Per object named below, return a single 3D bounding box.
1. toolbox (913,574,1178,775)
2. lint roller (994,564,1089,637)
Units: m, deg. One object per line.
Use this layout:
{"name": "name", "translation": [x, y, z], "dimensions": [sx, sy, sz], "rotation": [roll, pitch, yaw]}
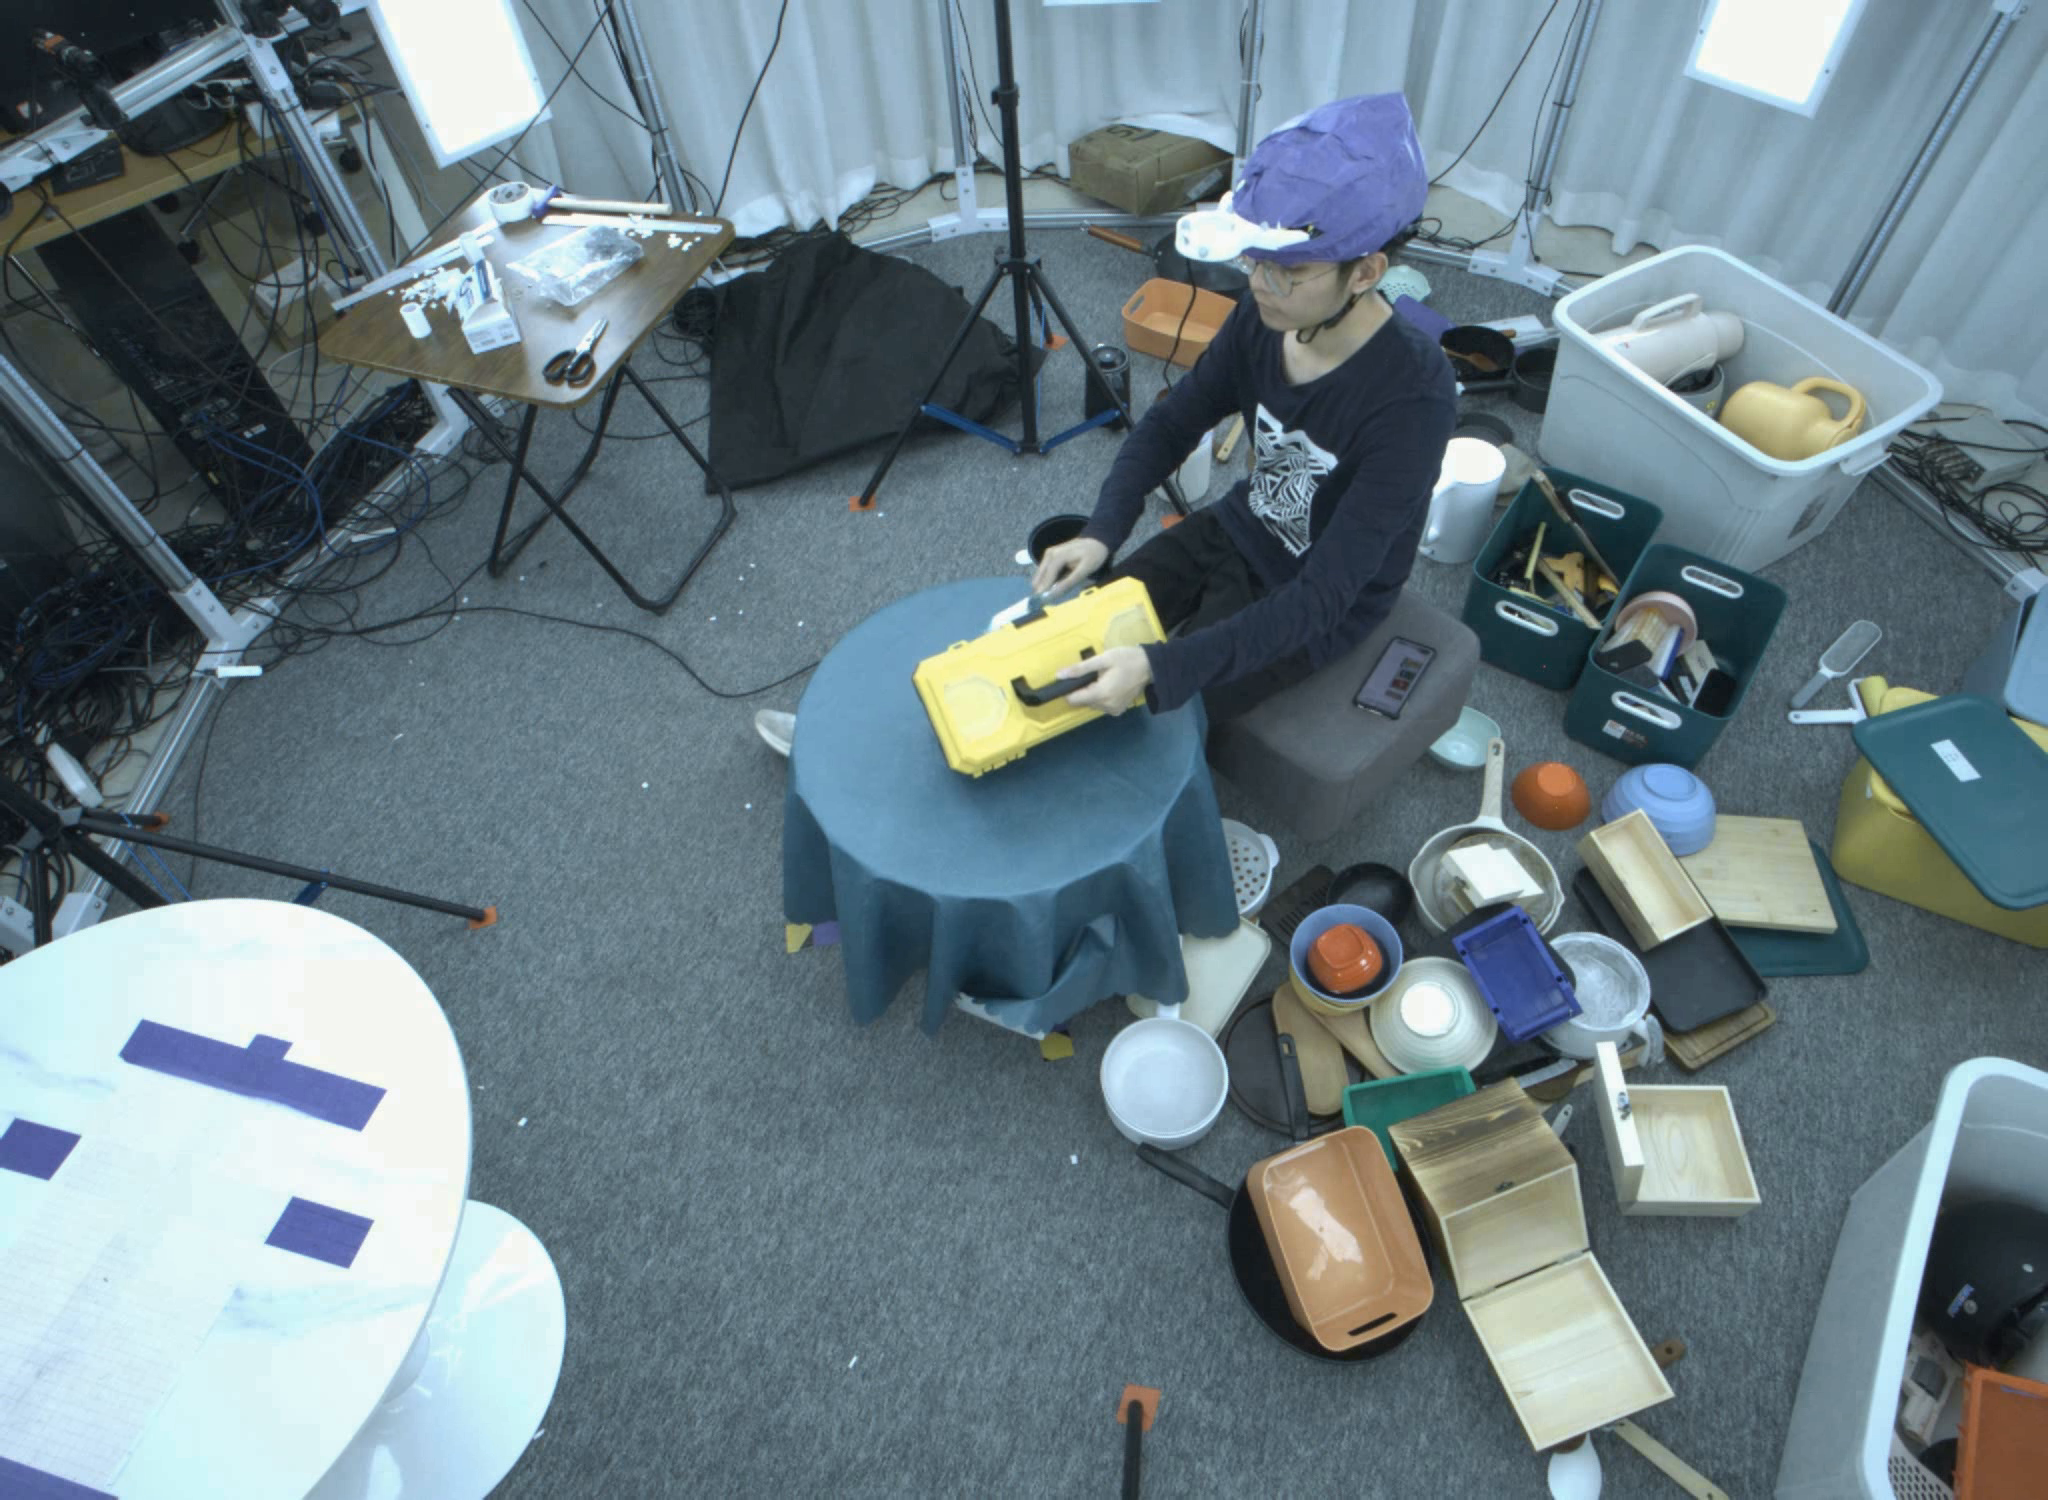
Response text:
{"name": "toolbox", "translation": [0.023, -0.105, 1.738], "dimensions": [0.354, 0.171, 0.182], "rotation": [-24, 95, -15]}
{"name": "lint roller", "translation": [0.036, -0.240, 1.845], "dimensions": [0.049, 0.132, 0.181], "rotation": [47, 57, -15]}
